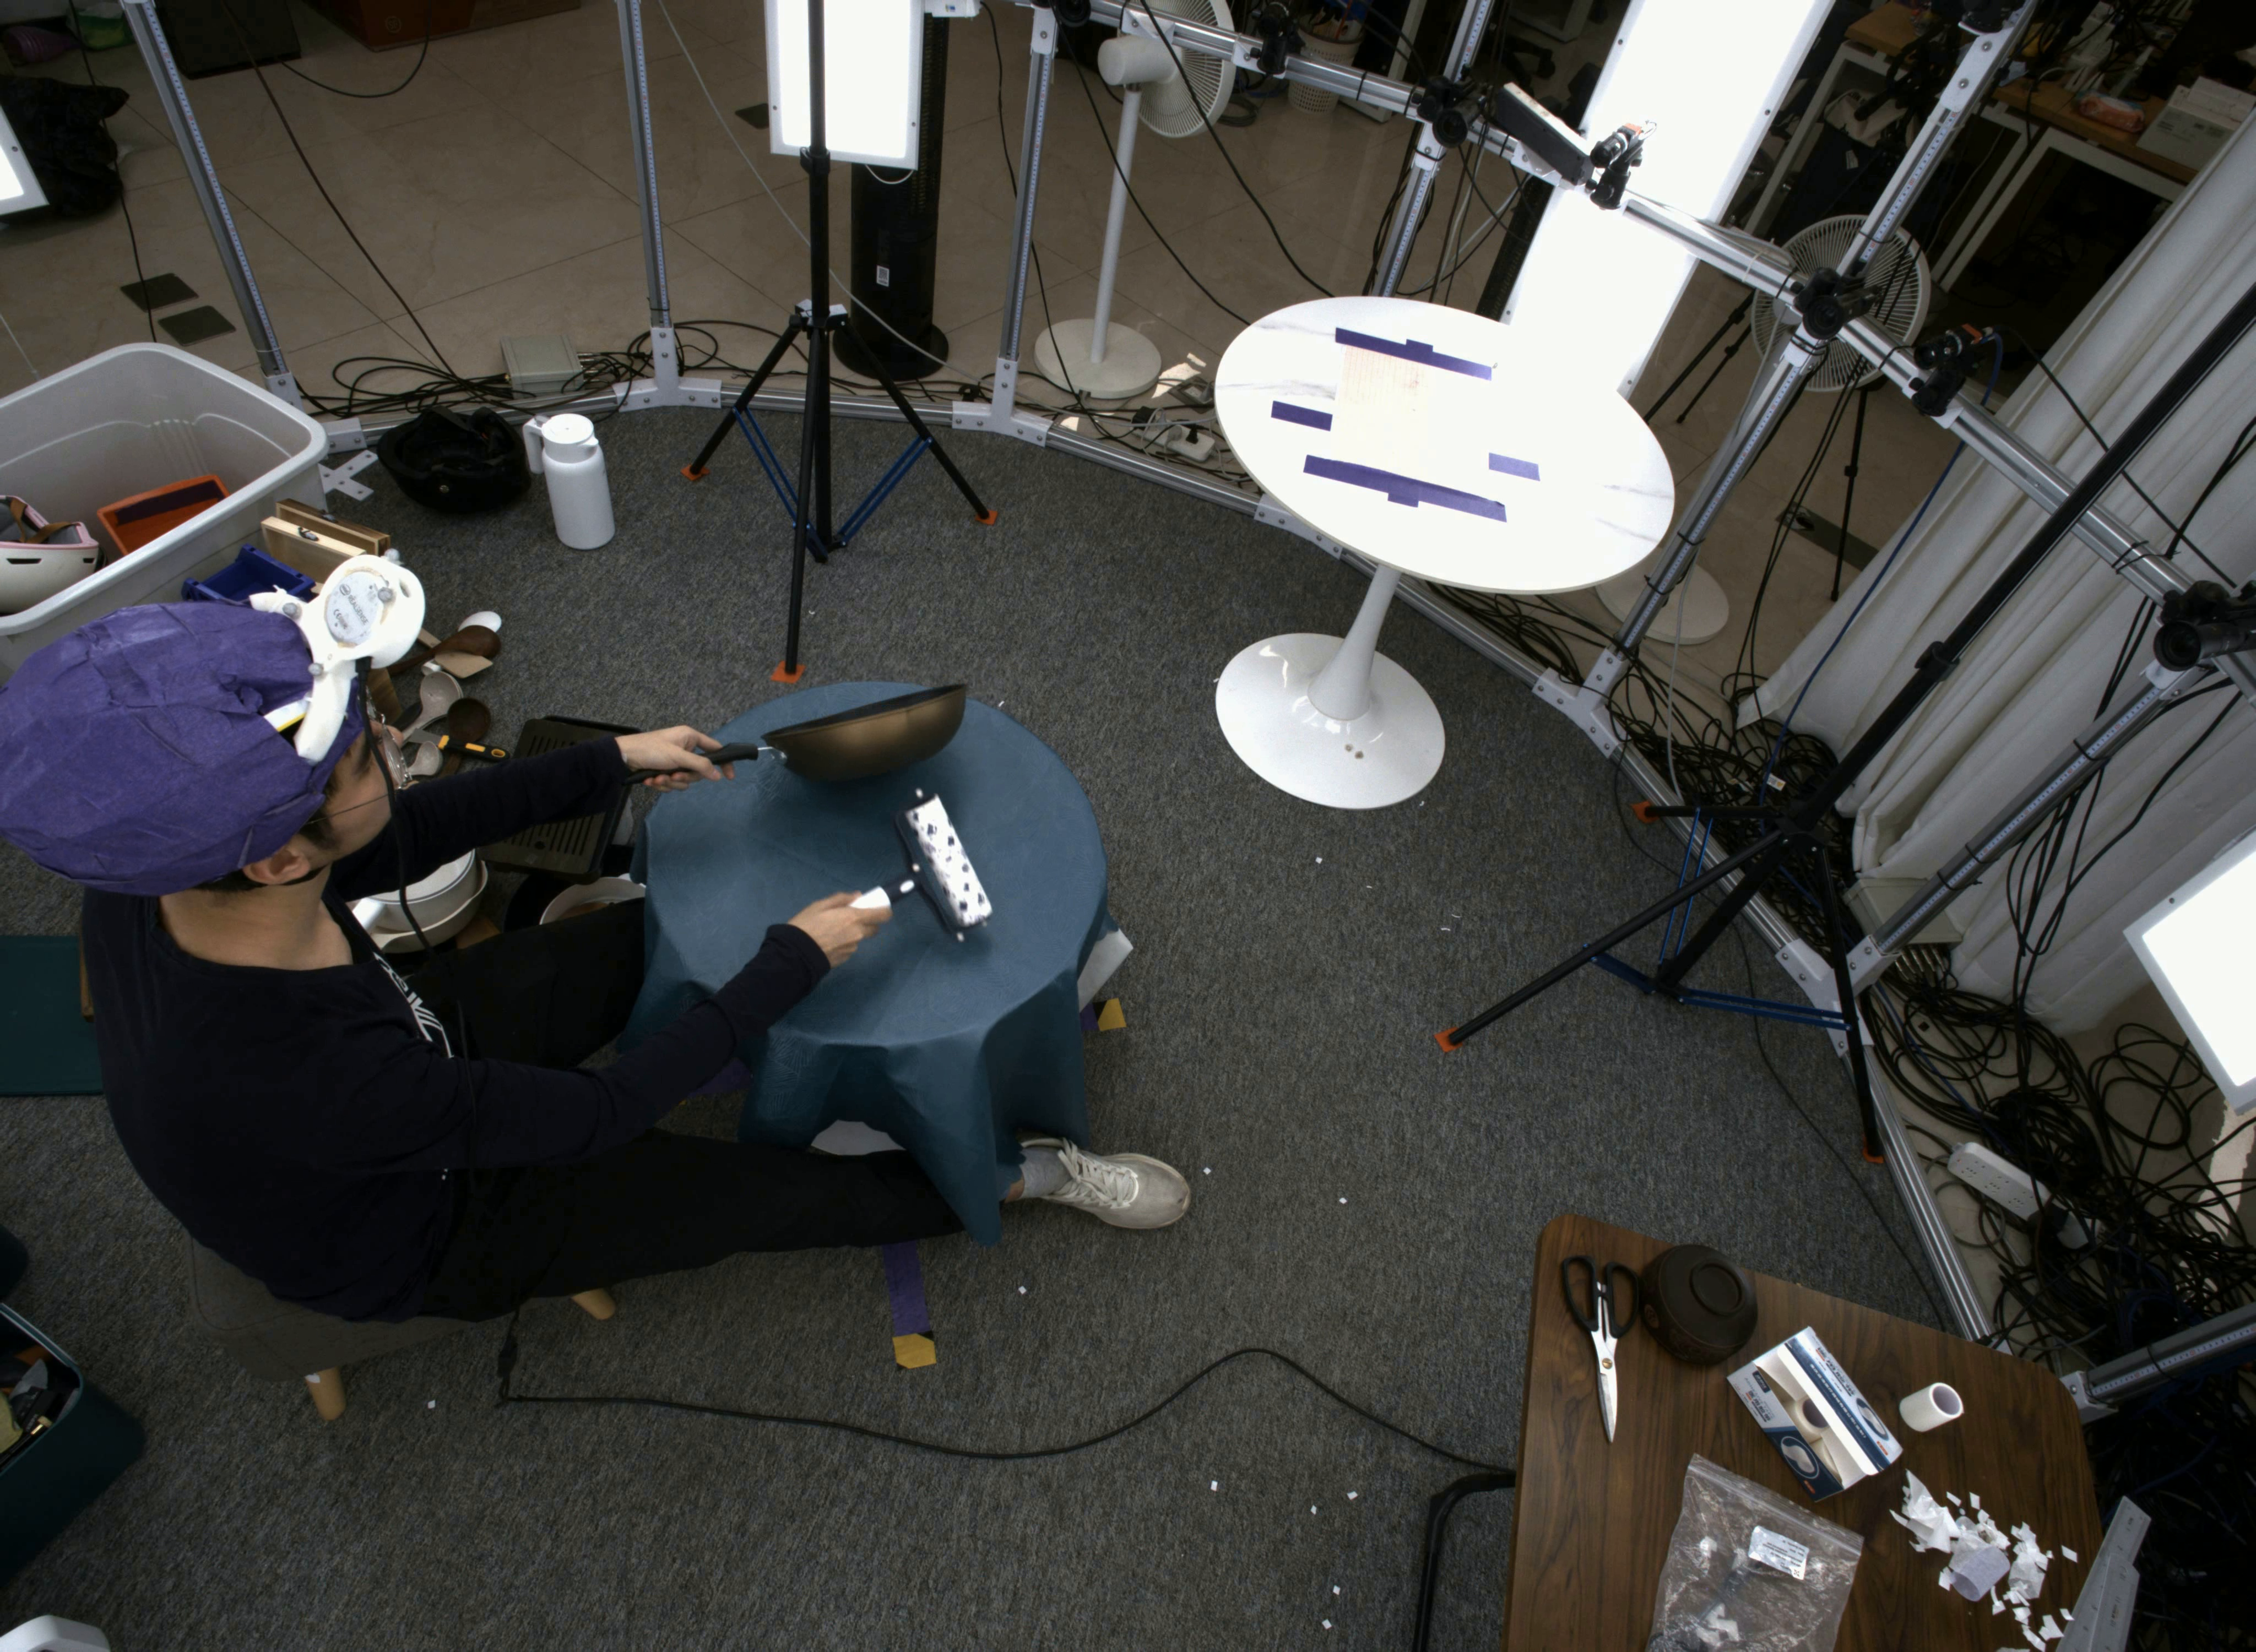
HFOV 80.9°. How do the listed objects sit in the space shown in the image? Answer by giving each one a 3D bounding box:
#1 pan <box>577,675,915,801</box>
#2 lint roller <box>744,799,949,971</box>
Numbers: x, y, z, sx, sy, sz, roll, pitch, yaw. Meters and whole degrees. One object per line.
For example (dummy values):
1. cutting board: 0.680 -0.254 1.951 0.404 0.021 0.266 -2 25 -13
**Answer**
1. pan: -0.474 -0.085 1.654 0.466 0.280 0.089 -23 102 -30
2. lint roller: -0.354 0.101 1.578 0.247 0.049 0.180 -35 106 -27
